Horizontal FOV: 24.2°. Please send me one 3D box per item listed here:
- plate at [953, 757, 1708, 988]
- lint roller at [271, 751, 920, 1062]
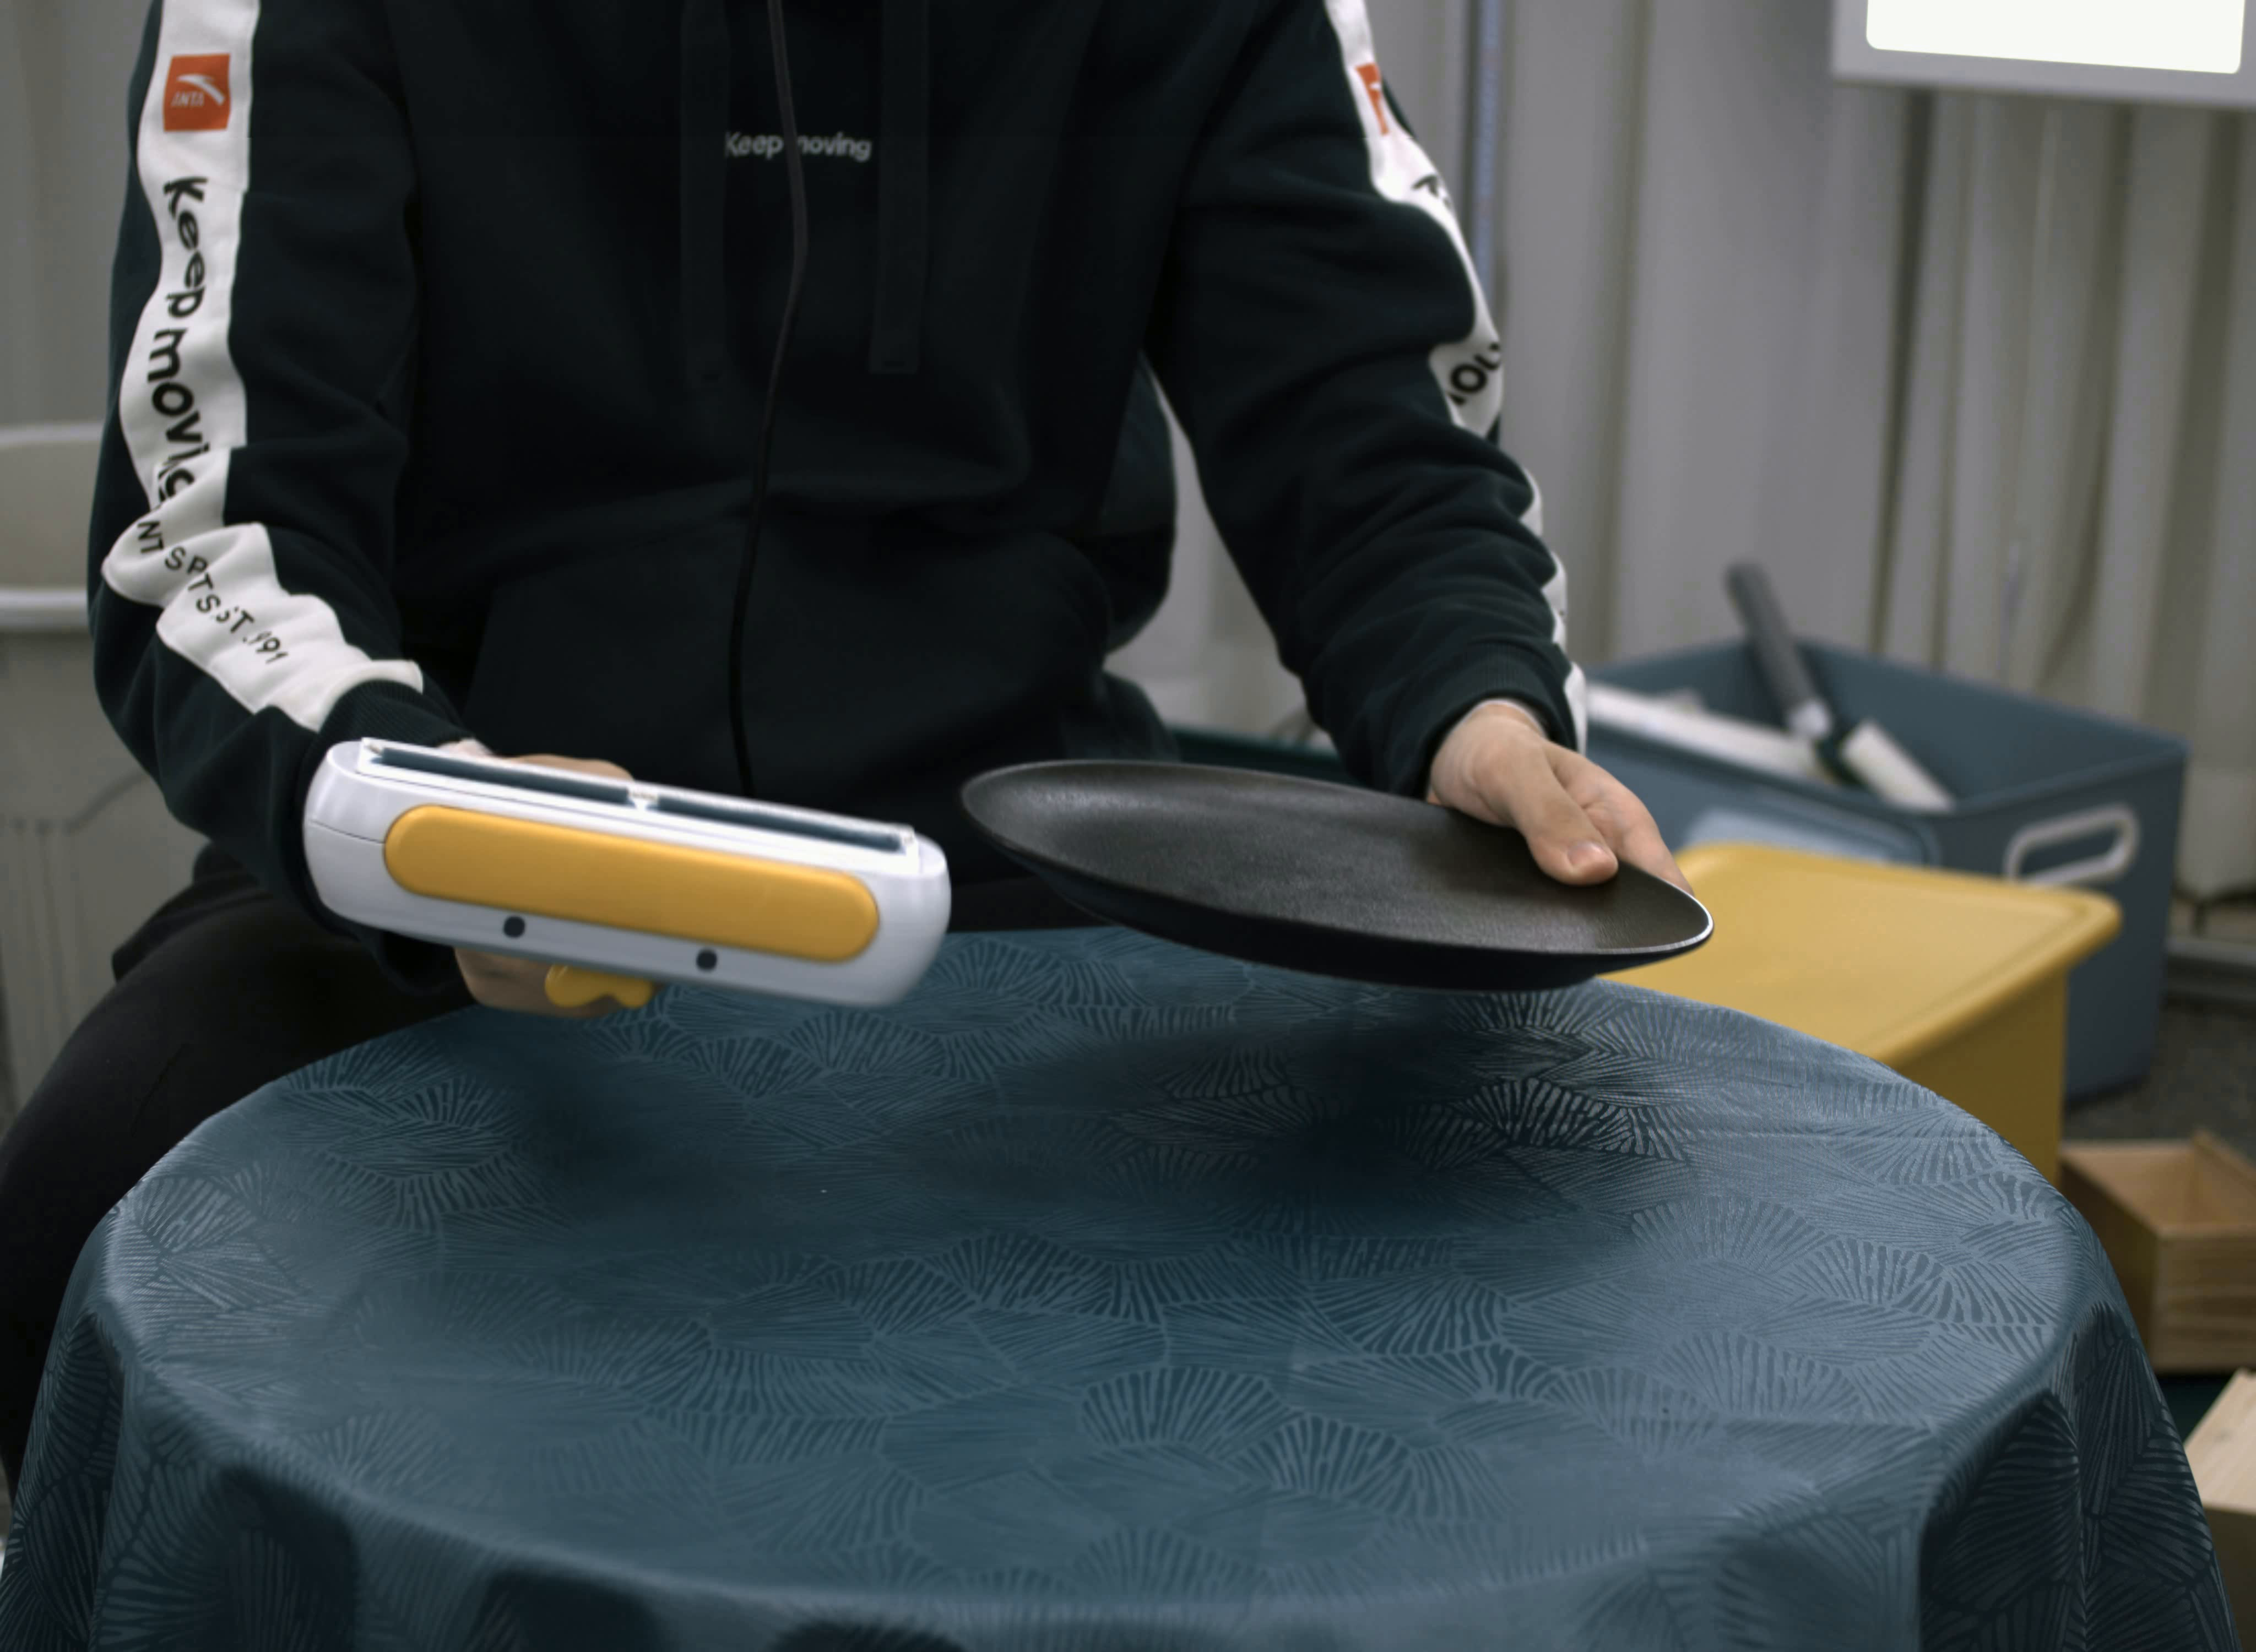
[{"bbox_3d":[0.063,0.017,1.669,0.244,0.023,0.243,9,11,-1],"label":"plate"},{"bbox_3d":[-0.161,0.032,1.612,0.192,0.074,0.193,6,-9,-3],"label":"lint roller"}]
